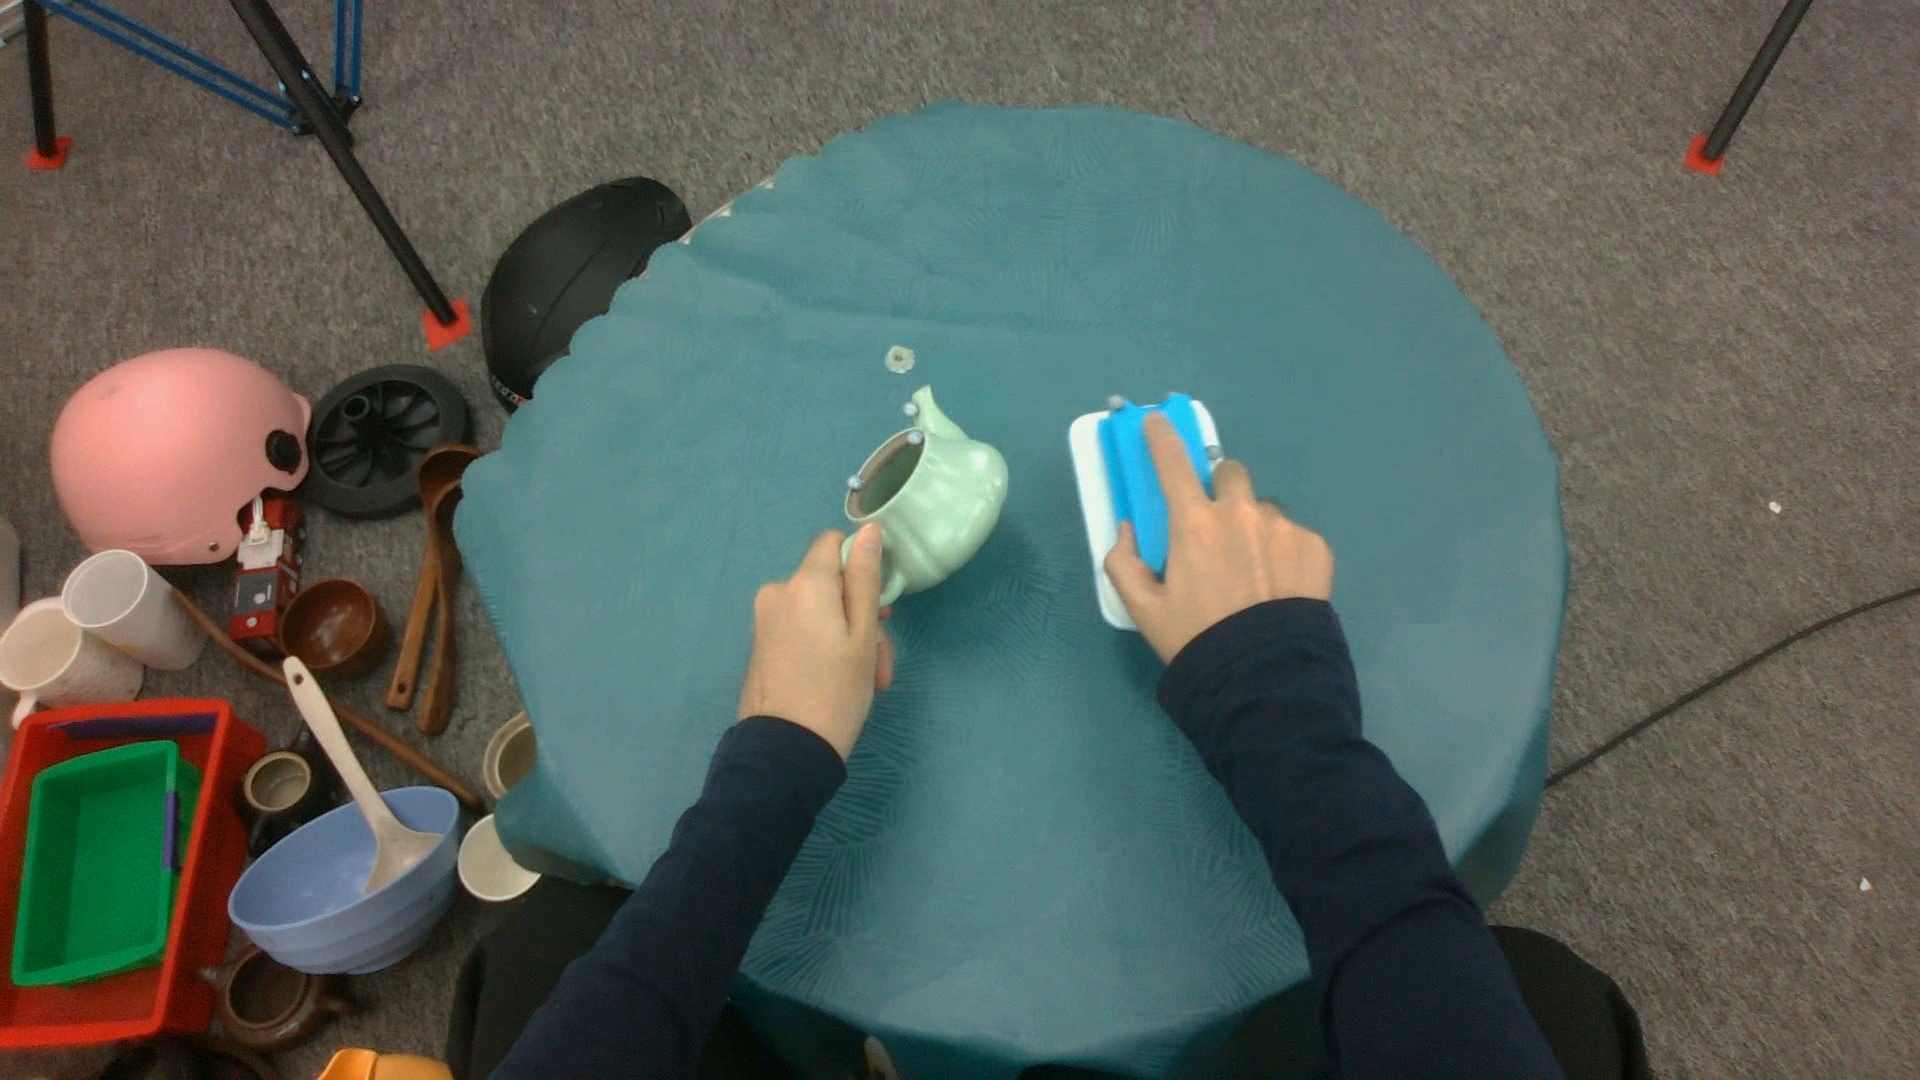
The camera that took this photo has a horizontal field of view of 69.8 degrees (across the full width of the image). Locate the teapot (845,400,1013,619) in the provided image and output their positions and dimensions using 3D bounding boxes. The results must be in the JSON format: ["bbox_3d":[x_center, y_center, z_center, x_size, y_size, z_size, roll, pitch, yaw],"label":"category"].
[{"bbox_3d":[-0.022,-0.010,0.741,0.096,0.061,0.137,-15,40,40],"label":"teapot"}]

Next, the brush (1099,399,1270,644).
[{"bbox_3d":[0.114,-0.017,0.723,0.084,0.055,0.144,-4,56,5],"label":"brush"}]
